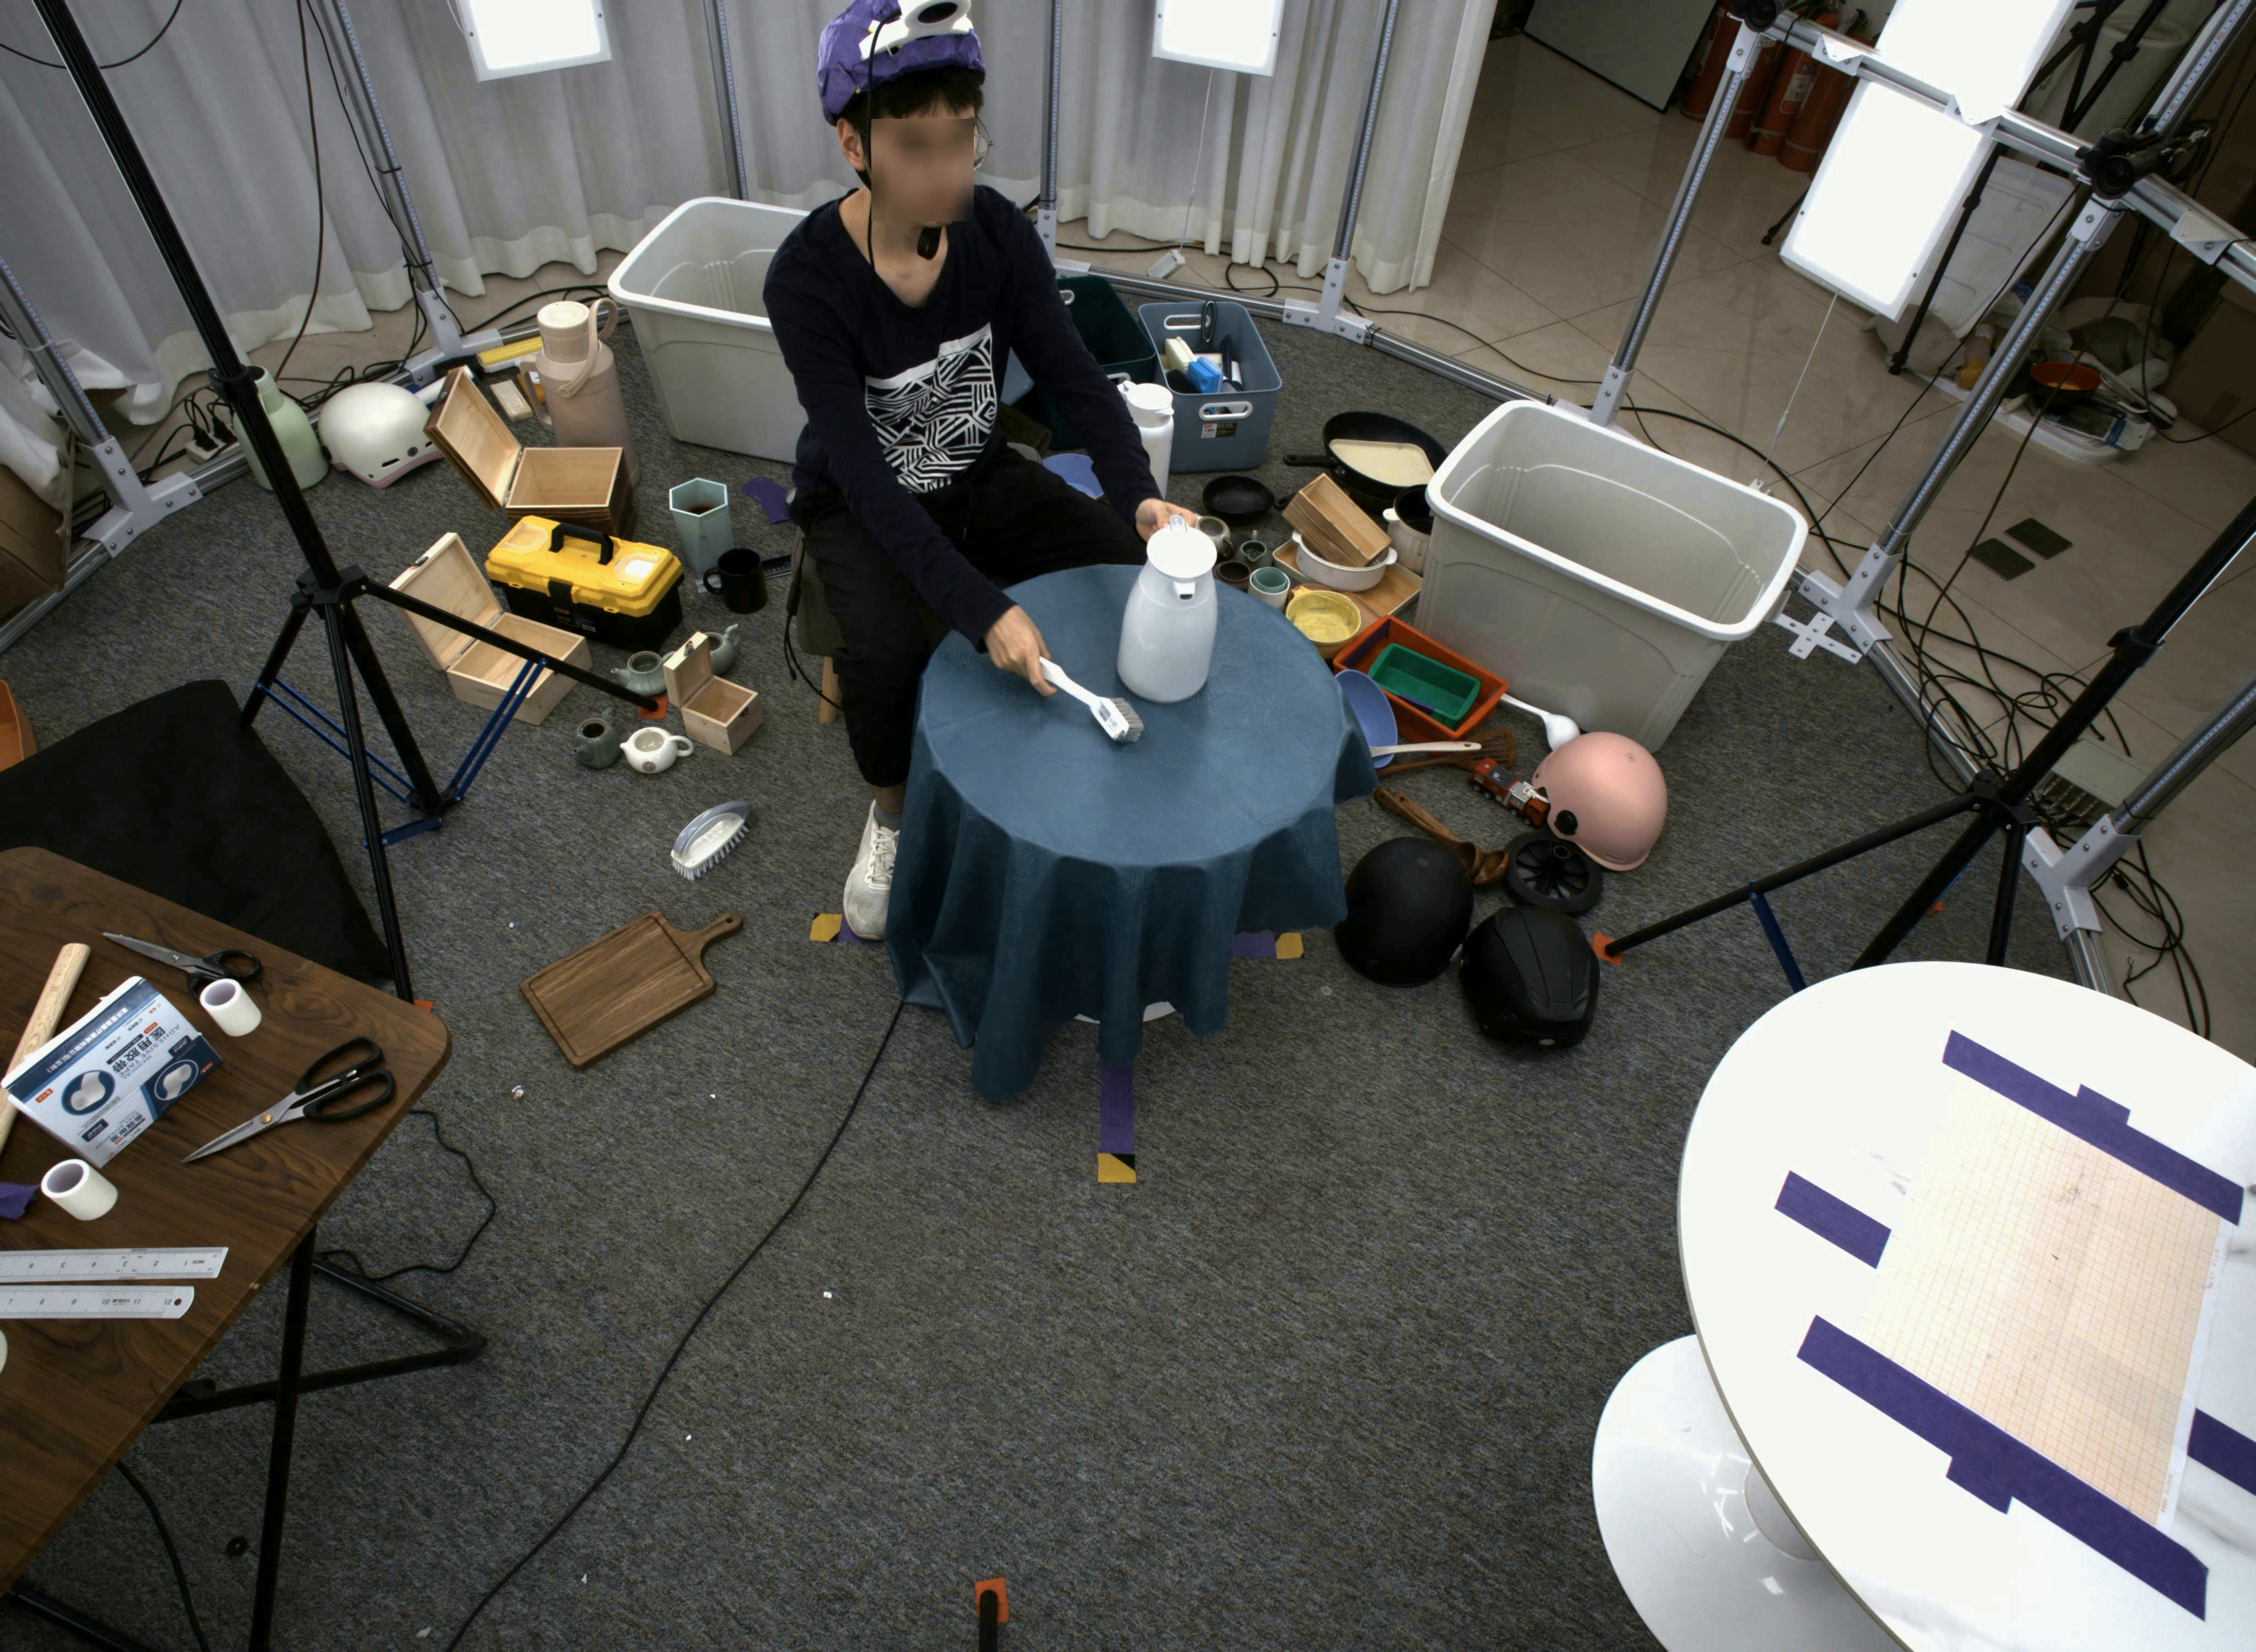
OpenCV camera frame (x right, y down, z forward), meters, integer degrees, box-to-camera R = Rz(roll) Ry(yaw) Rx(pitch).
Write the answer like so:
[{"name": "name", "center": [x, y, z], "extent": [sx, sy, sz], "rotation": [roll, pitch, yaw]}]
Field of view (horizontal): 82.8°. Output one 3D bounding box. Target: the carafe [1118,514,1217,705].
[{"name": "carafe", "center": [0.056, -0.309, 1.767], "extent": [0.132, 0.243, 0.172], "rotation": [-5, 56, -8]}]

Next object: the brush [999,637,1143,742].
[{"name": "brush", "center": [-0.078, -0.197, 1.789], "extent": [0.246, 0.033, 0.050], "rotation": [38, 43, 19]}]
